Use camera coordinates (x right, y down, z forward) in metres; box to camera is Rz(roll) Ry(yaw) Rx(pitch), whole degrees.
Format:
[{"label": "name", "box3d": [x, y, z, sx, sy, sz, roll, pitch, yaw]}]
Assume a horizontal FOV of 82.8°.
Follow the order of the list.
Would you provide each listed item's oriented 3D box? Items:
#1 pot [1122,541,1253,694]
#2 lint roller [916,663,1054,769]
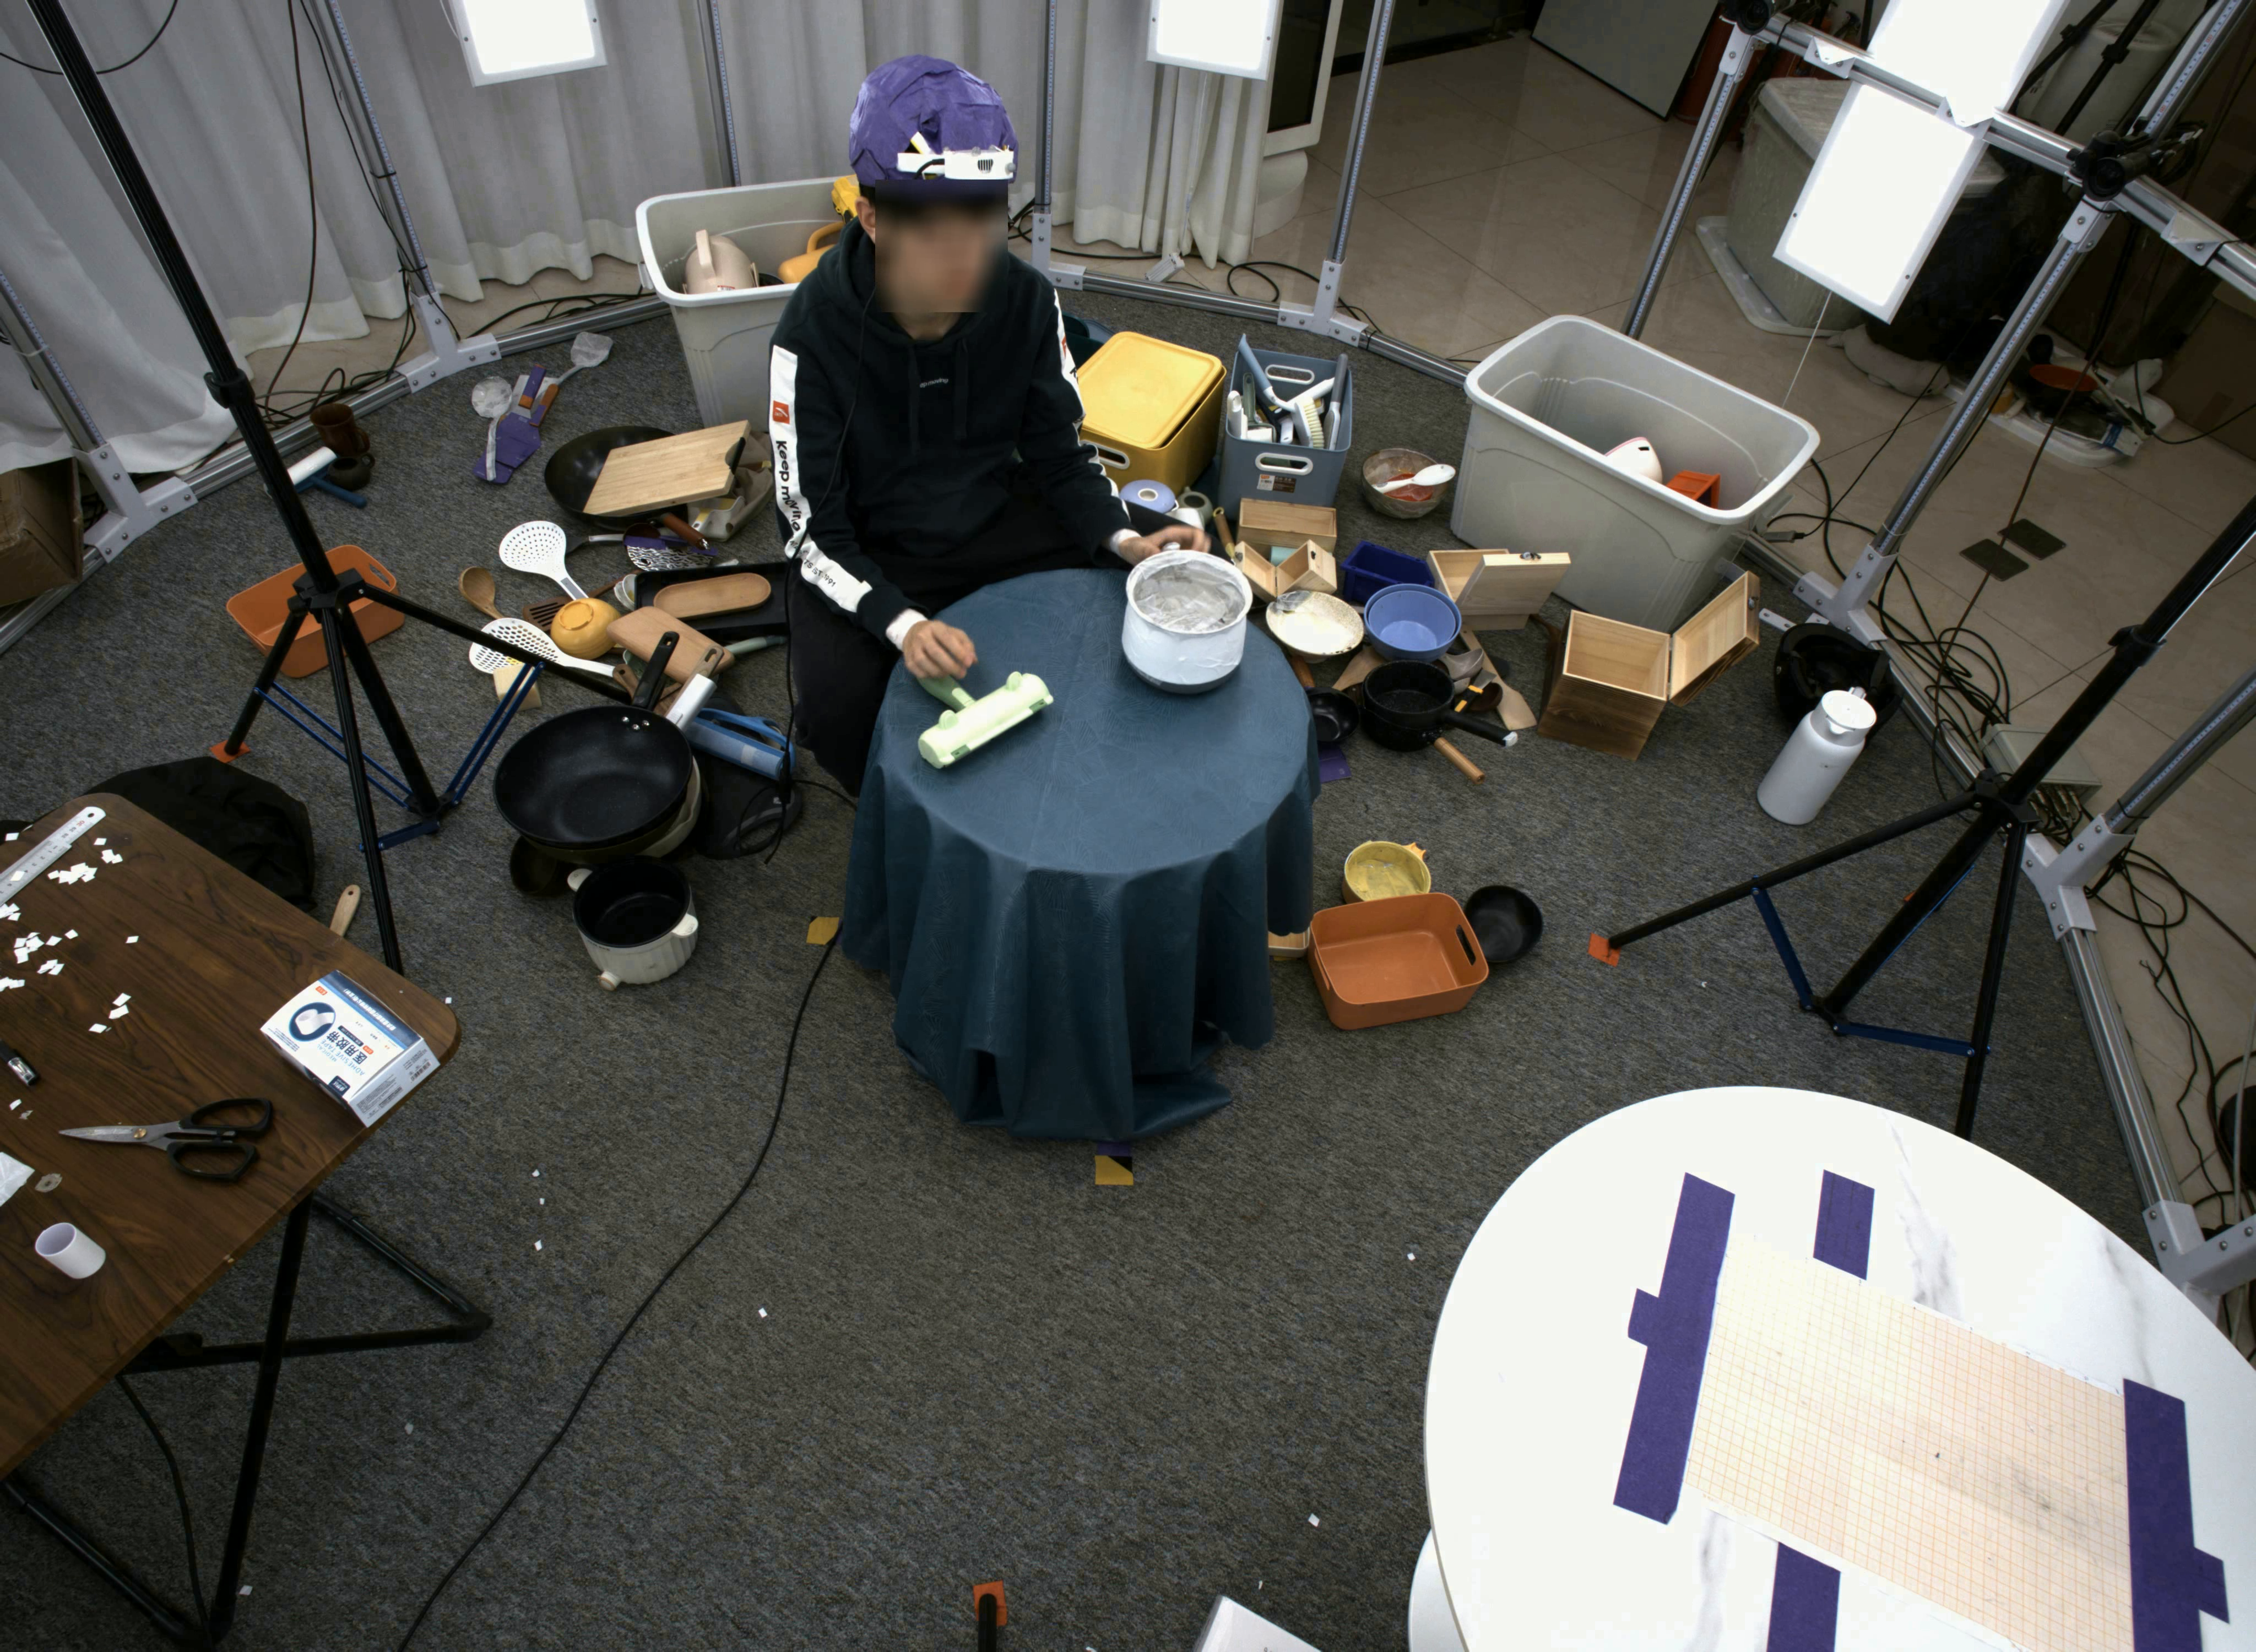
[{"label": "pot", "box3d": [0.077, -0.309, 1.851, 0.178, 0.133, 0.239, -7, 51, -10]}, {"label": "lint roller", "box3d": [-0.231, -0.184, 1.764, 0.200, 0.080, 0.186, -34, 64, -28]}]
